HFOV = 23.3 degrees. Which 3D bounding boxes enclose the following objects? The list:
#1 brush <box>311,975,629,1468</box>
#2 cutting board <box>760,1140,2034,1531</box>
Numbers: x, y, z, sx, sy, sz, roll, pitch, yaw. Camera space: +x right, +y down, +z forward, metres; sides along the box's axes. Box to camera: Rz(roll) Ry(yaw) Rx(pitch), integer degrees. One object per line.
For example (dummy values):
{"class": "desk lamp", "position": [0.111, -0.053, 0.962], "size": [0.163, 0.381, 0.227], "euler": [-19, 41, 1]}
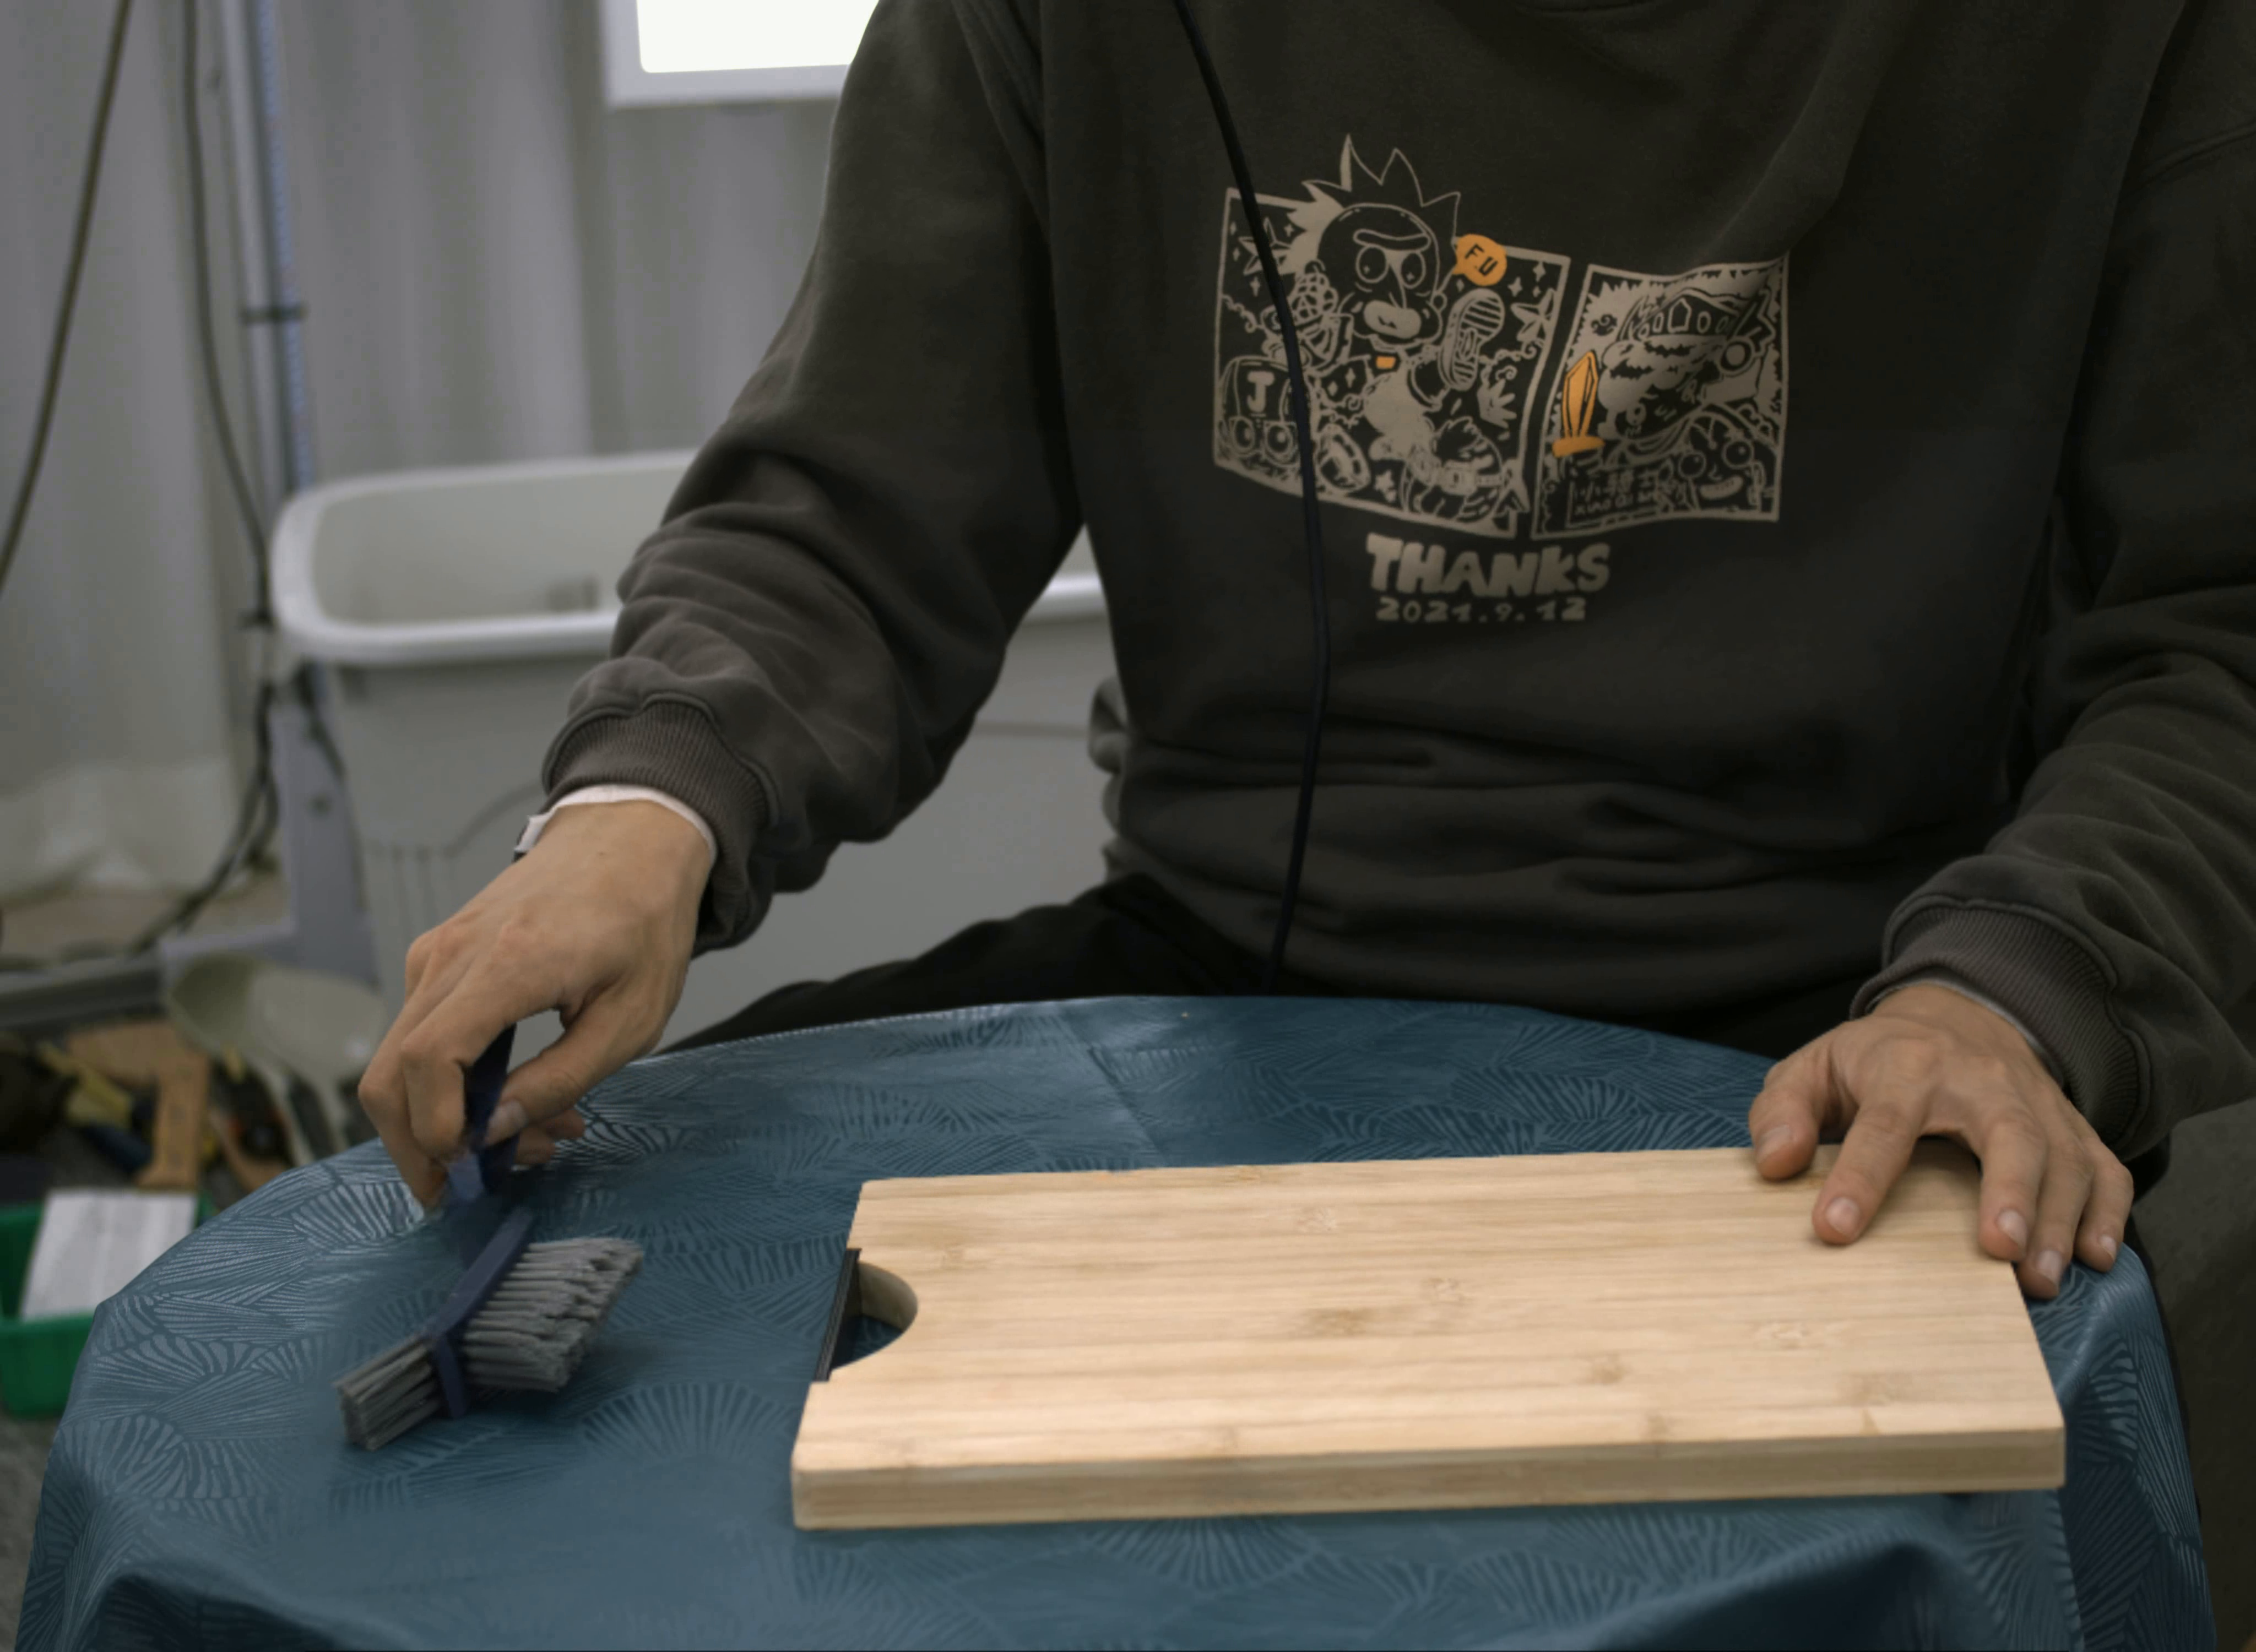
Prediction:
{"class": "brush", "position": [-0.205, 0.115, 1.669], "size": [0.095, 0.033, 0.276], "euler": [-13, 21, -5]}
{"class": "cutting board", "position": [0.077, 0.144, 1.568], "size": [0.347, 0.023, 0.252], "euler": [-2, 15, 2]}
